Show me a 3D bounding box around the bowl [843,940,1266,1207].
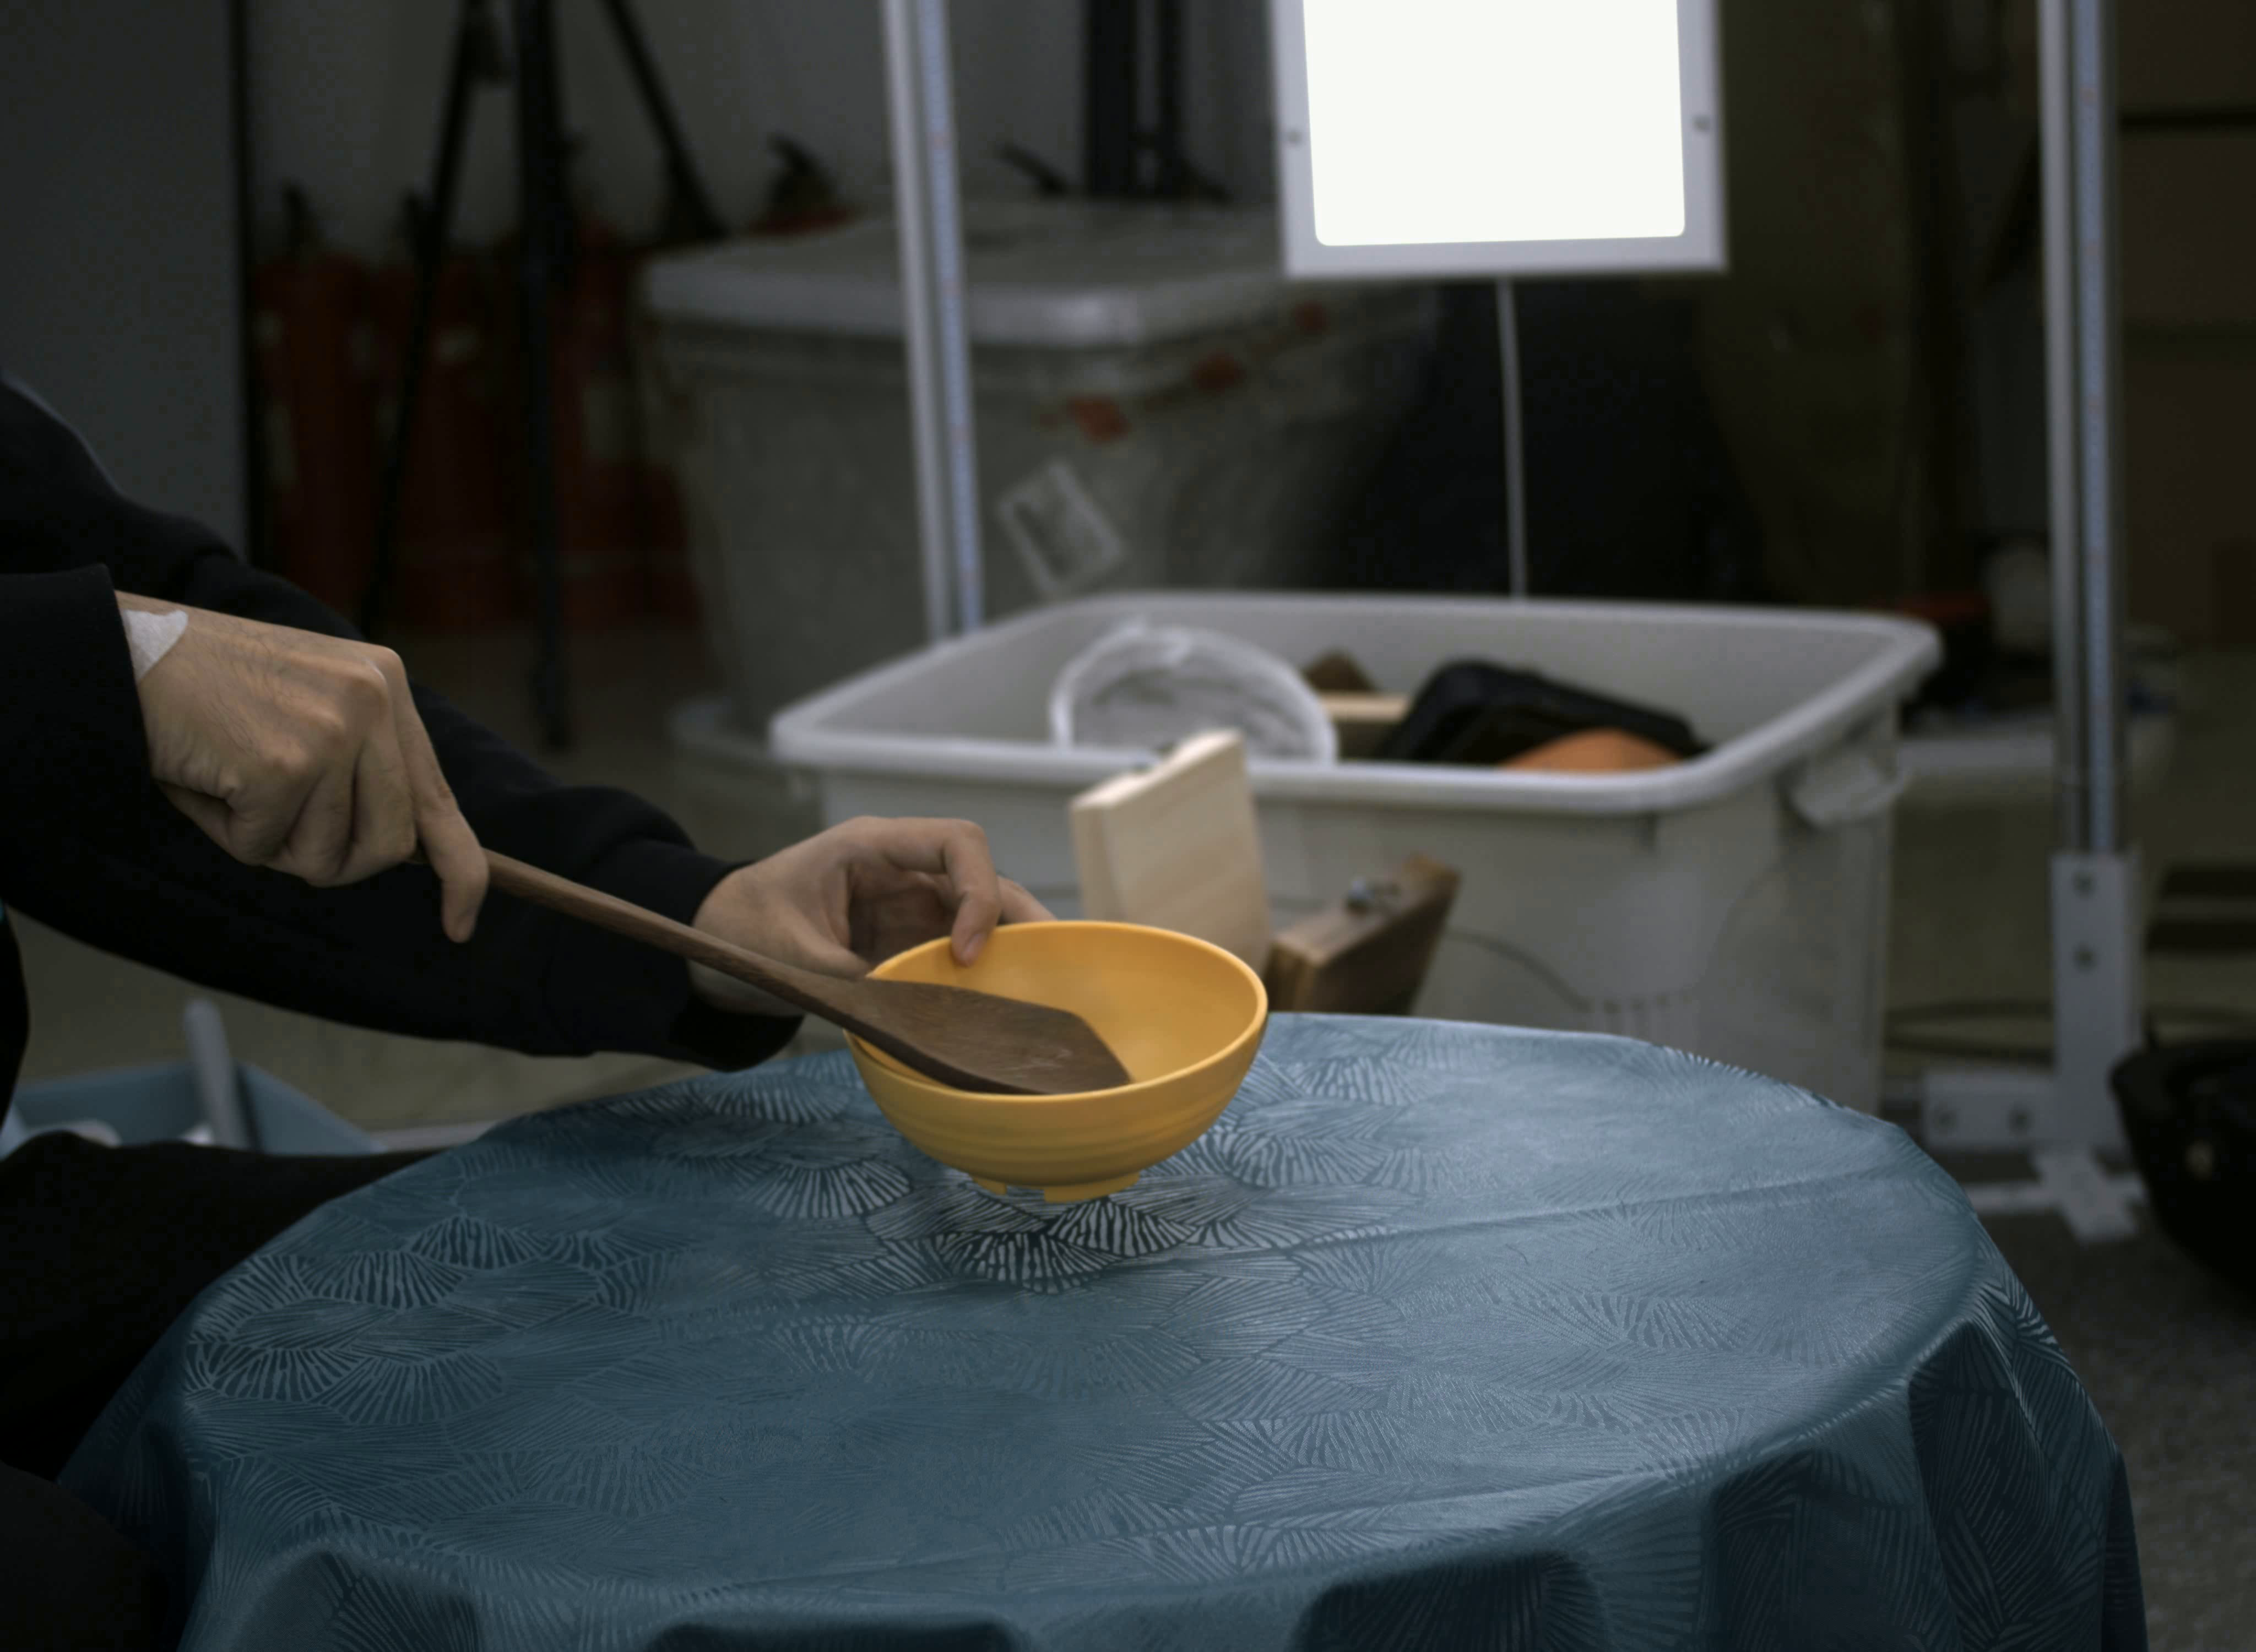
[{"bbox_3d":[-0.024,0.090,1.868,0.145,0.060,0.145,-4,19,0],"label":"bowl"}]

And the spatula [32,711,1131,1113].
[{"bbox_3d":[-0.173,0.026,1.811,0.381,0.016,0.096,20,14,-13],"label":"spatula"}]
